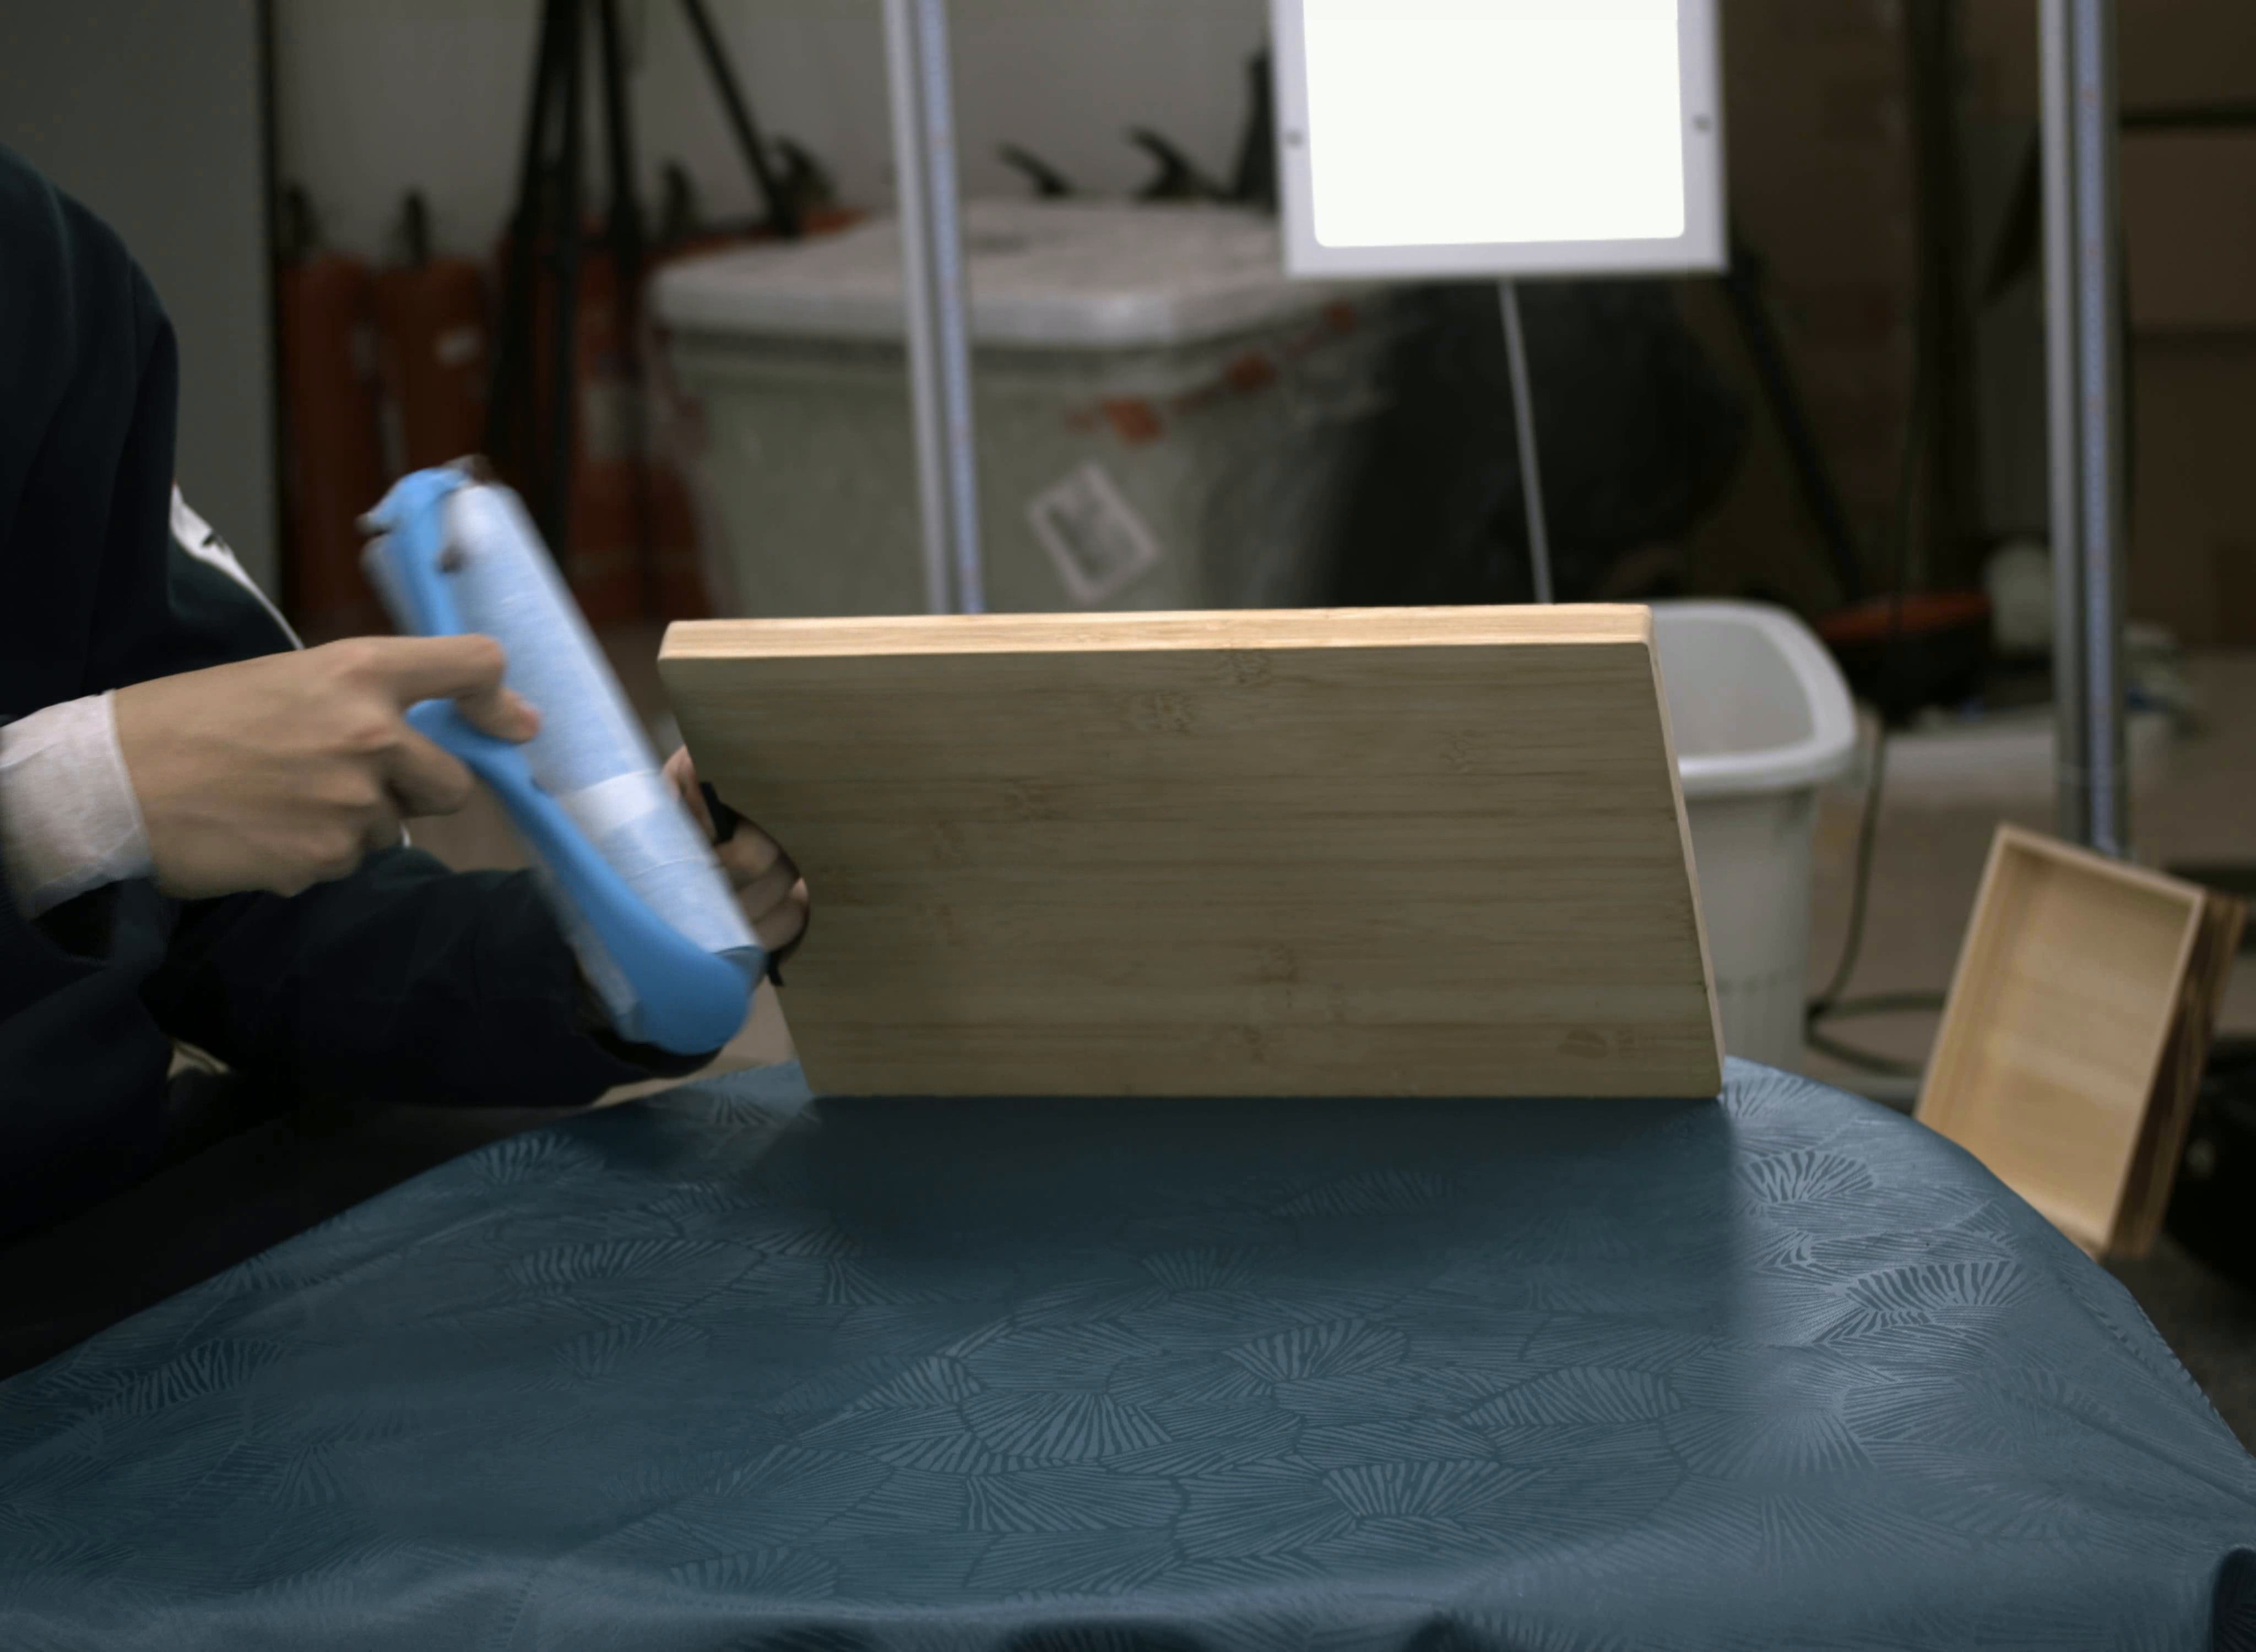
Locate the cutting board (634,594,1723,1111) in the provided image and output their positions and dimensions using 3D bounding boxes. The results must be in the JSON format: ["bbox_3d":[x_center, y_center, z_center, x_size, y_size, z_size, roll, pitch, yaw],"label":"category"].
[{"bbox_3d":[0.022,0.015,1.909,0.352,0.250,0.023,0,49,15],"label":"cutting board"}]

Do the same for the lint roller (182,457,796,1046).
[{"bbox_3d":[-0.218,-0.017,1.796,0.175,0.230,0.069,-12,-26,-42],"label":"lint roller"}]
